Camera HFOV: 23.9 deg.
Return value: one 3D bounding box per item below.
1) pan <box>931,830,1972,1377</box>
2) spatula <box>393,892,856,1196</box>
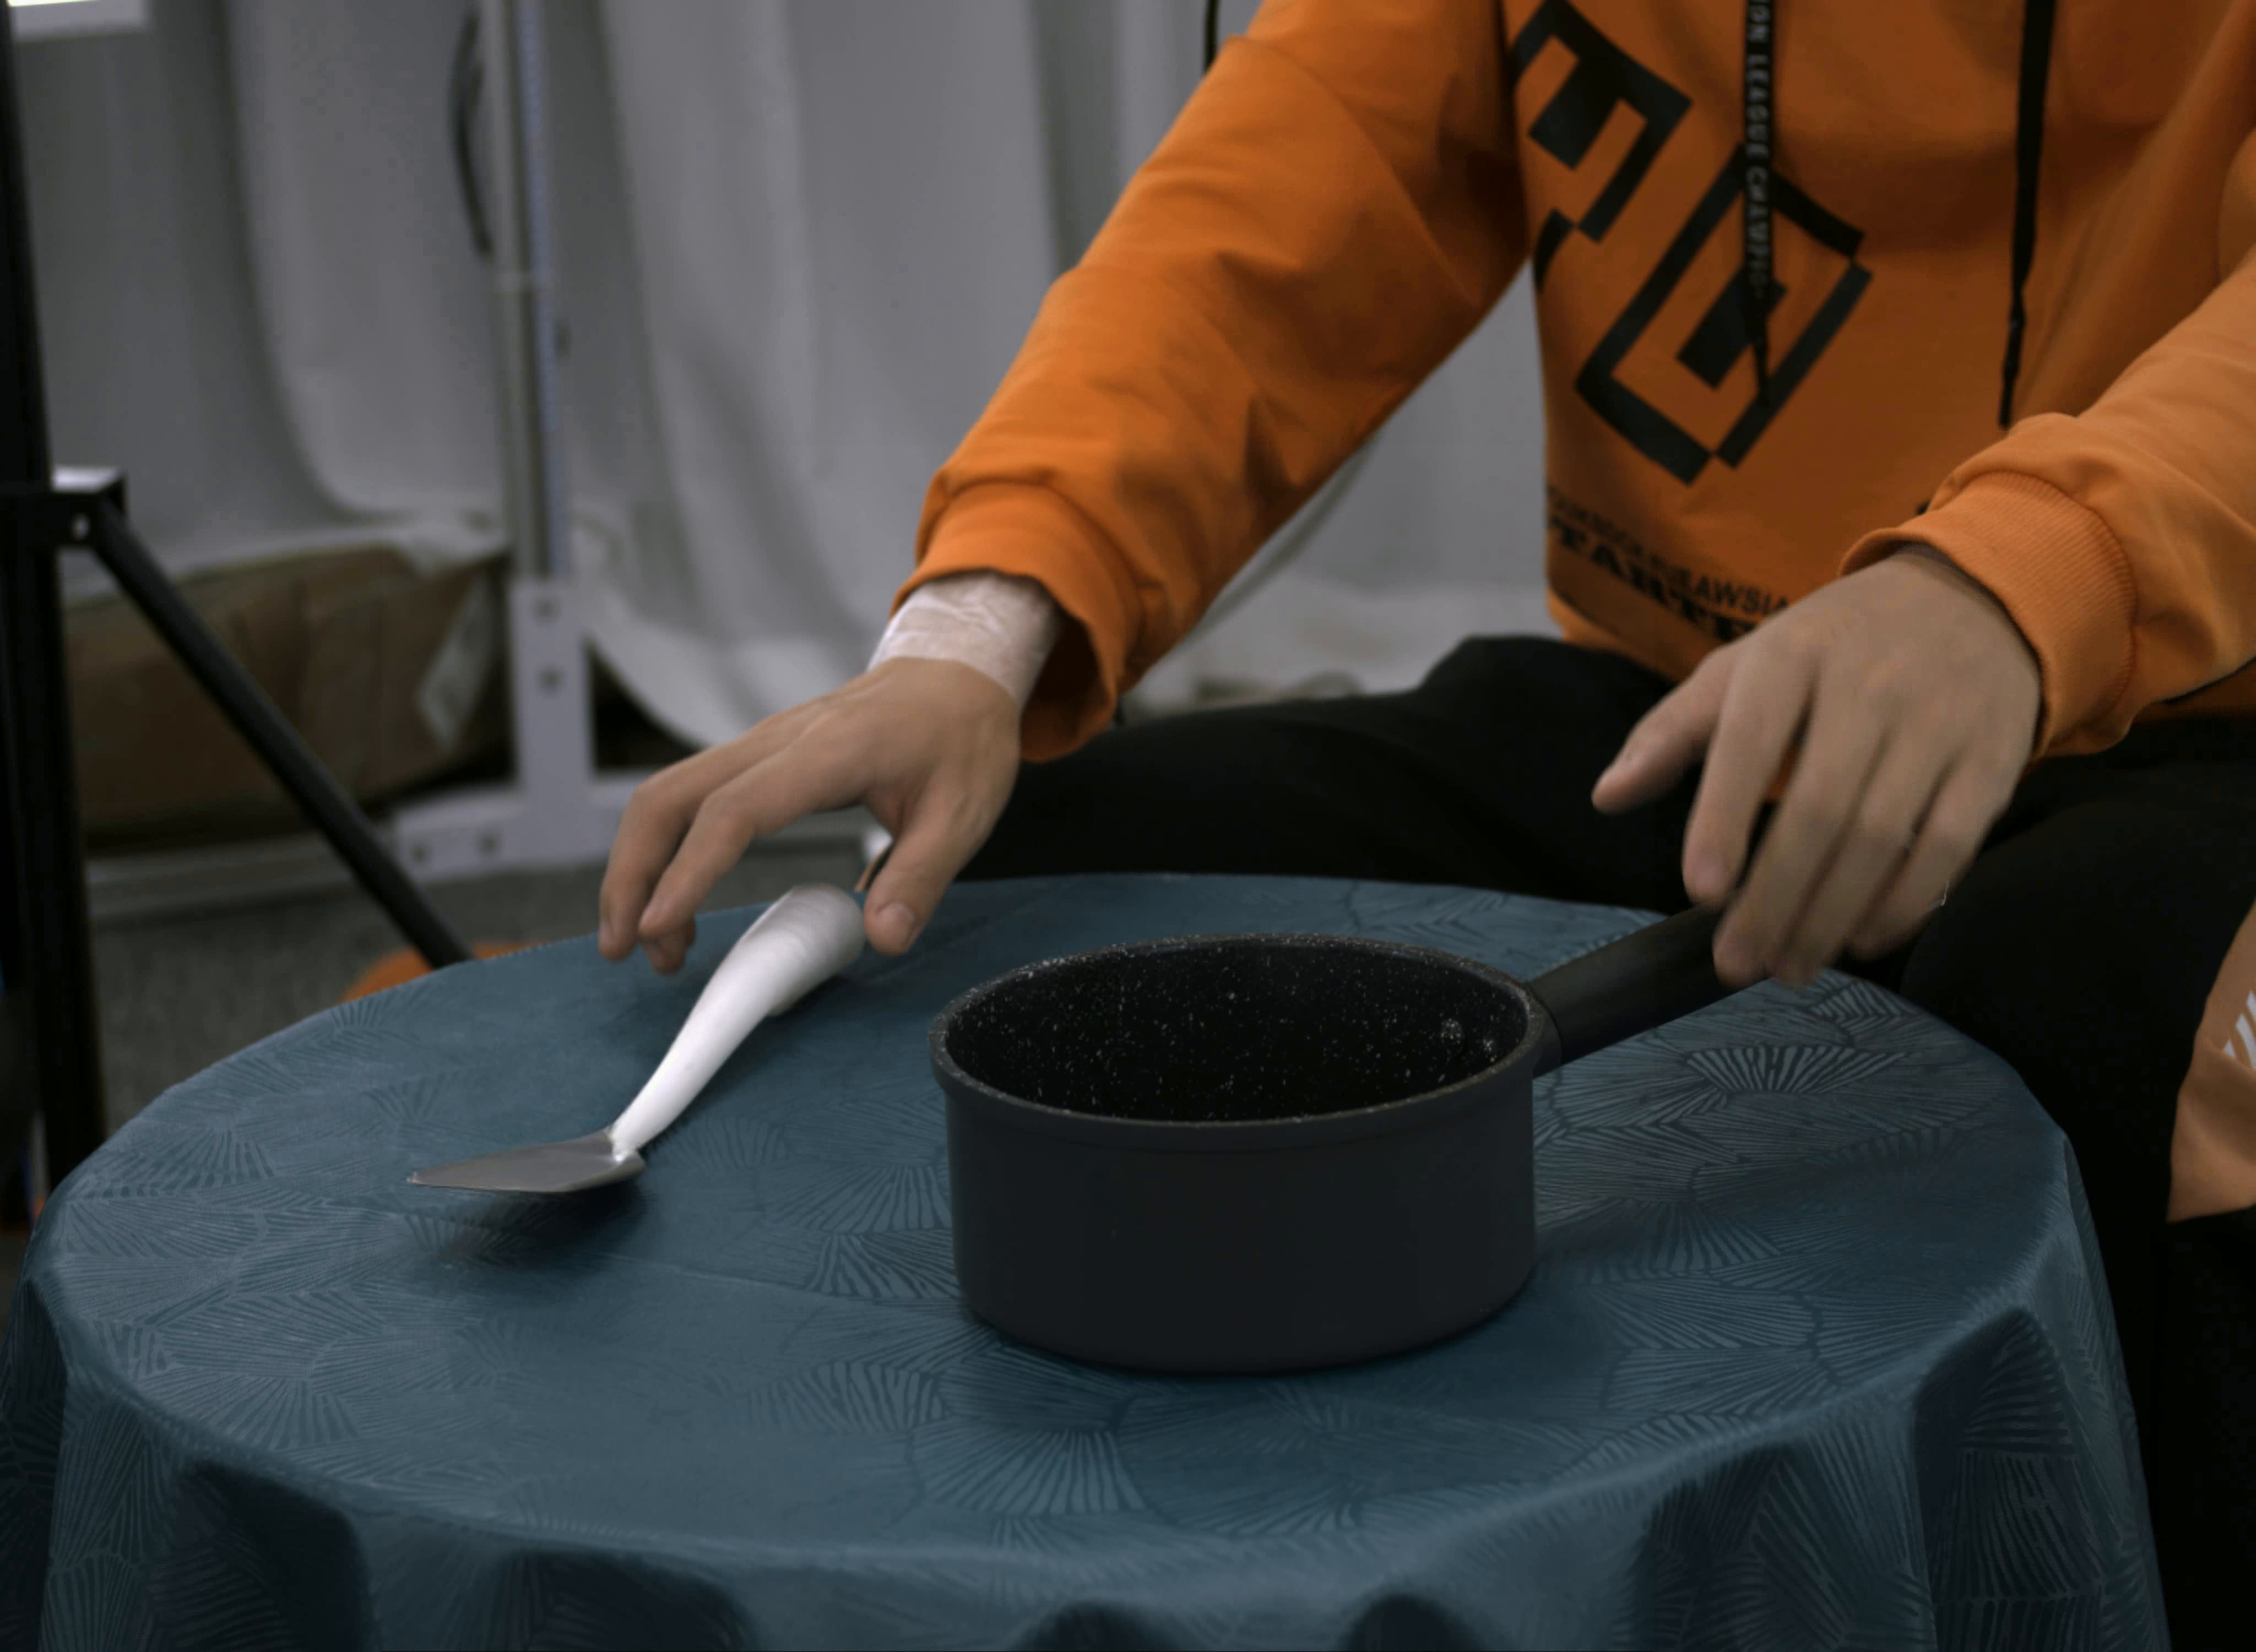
[{"bbox_3d":[0.101,0.074,1.506,0.322,0.086,0.175,-12,19,-25],"label":"pan"},{"bbox_3d":[-0.145,0.074,1.643,0.059,0.032,0.285,5,17,16],"label":"spatula"}]
